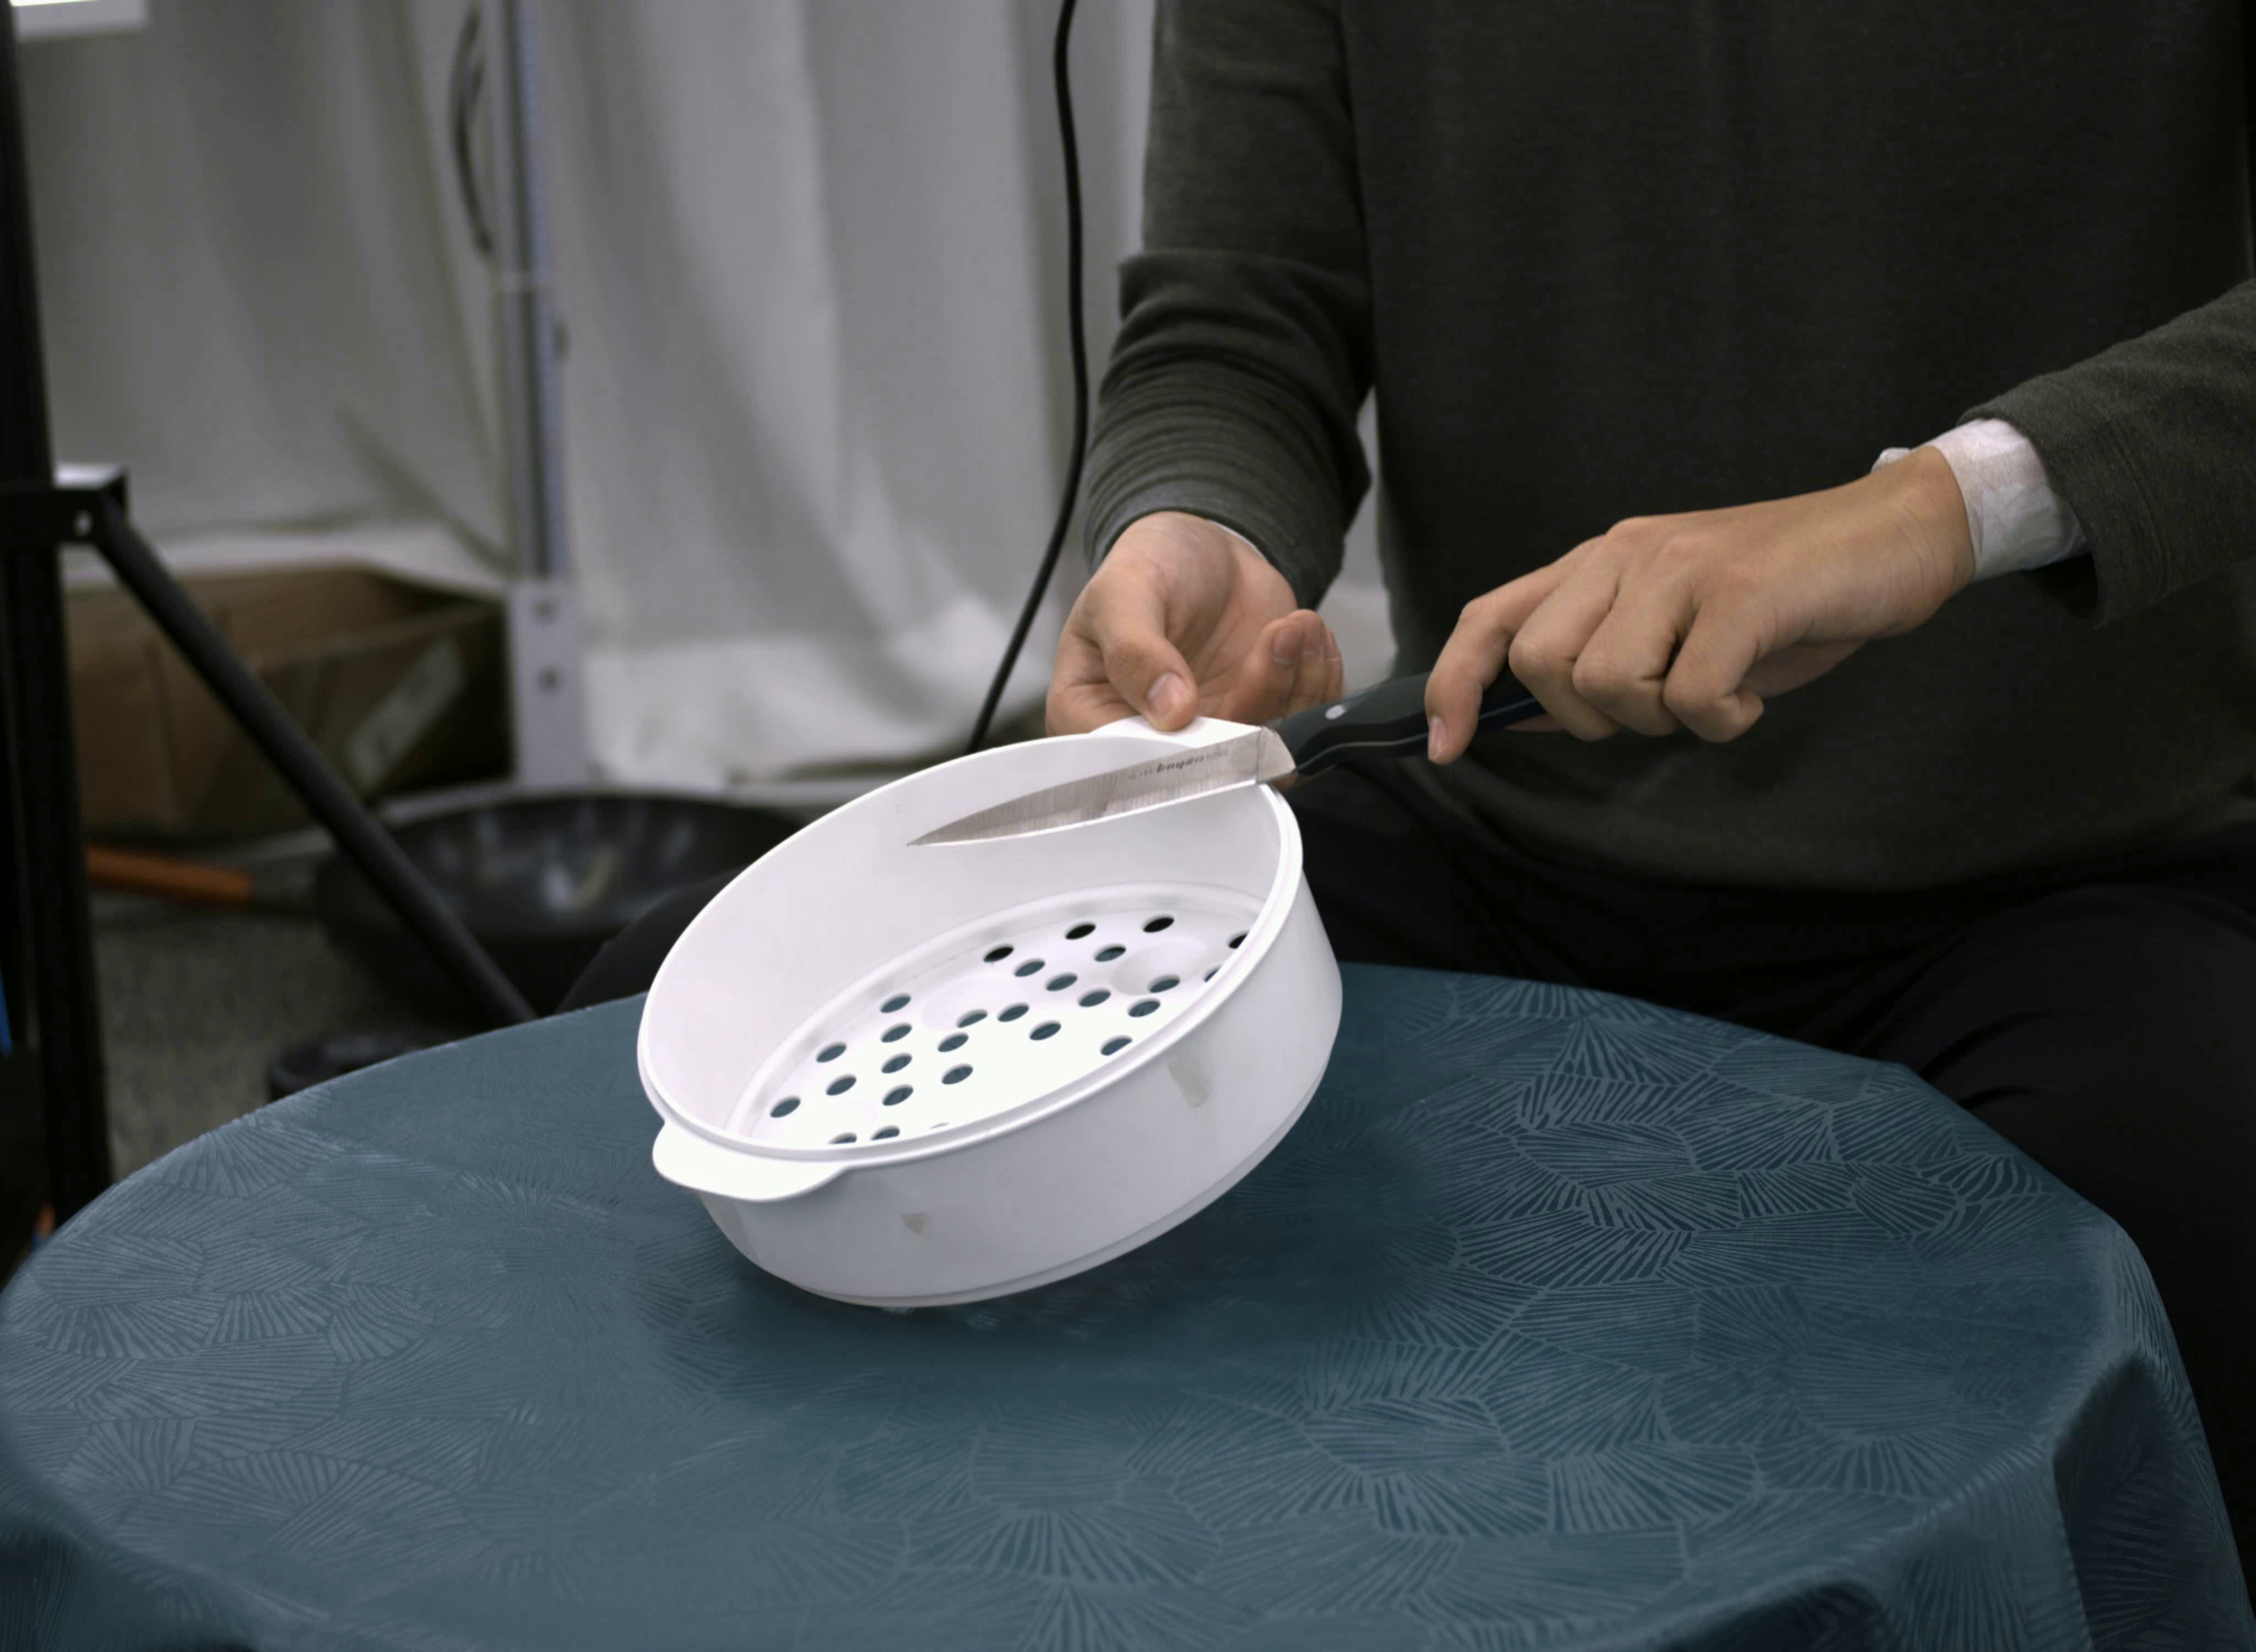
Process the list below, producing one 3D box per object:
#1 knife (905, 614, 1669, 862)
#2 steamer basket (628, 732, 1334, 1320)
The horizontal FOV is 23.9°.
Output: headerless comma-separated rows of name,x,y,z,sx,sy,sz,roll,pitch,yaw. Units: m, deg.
knife,0.043,-0.023,1.525,0.240,0.016,0.024,-16,34,21
steamer basket,-0.039,0.060,1.521,0.206,0.068,0.228,10,41,44
